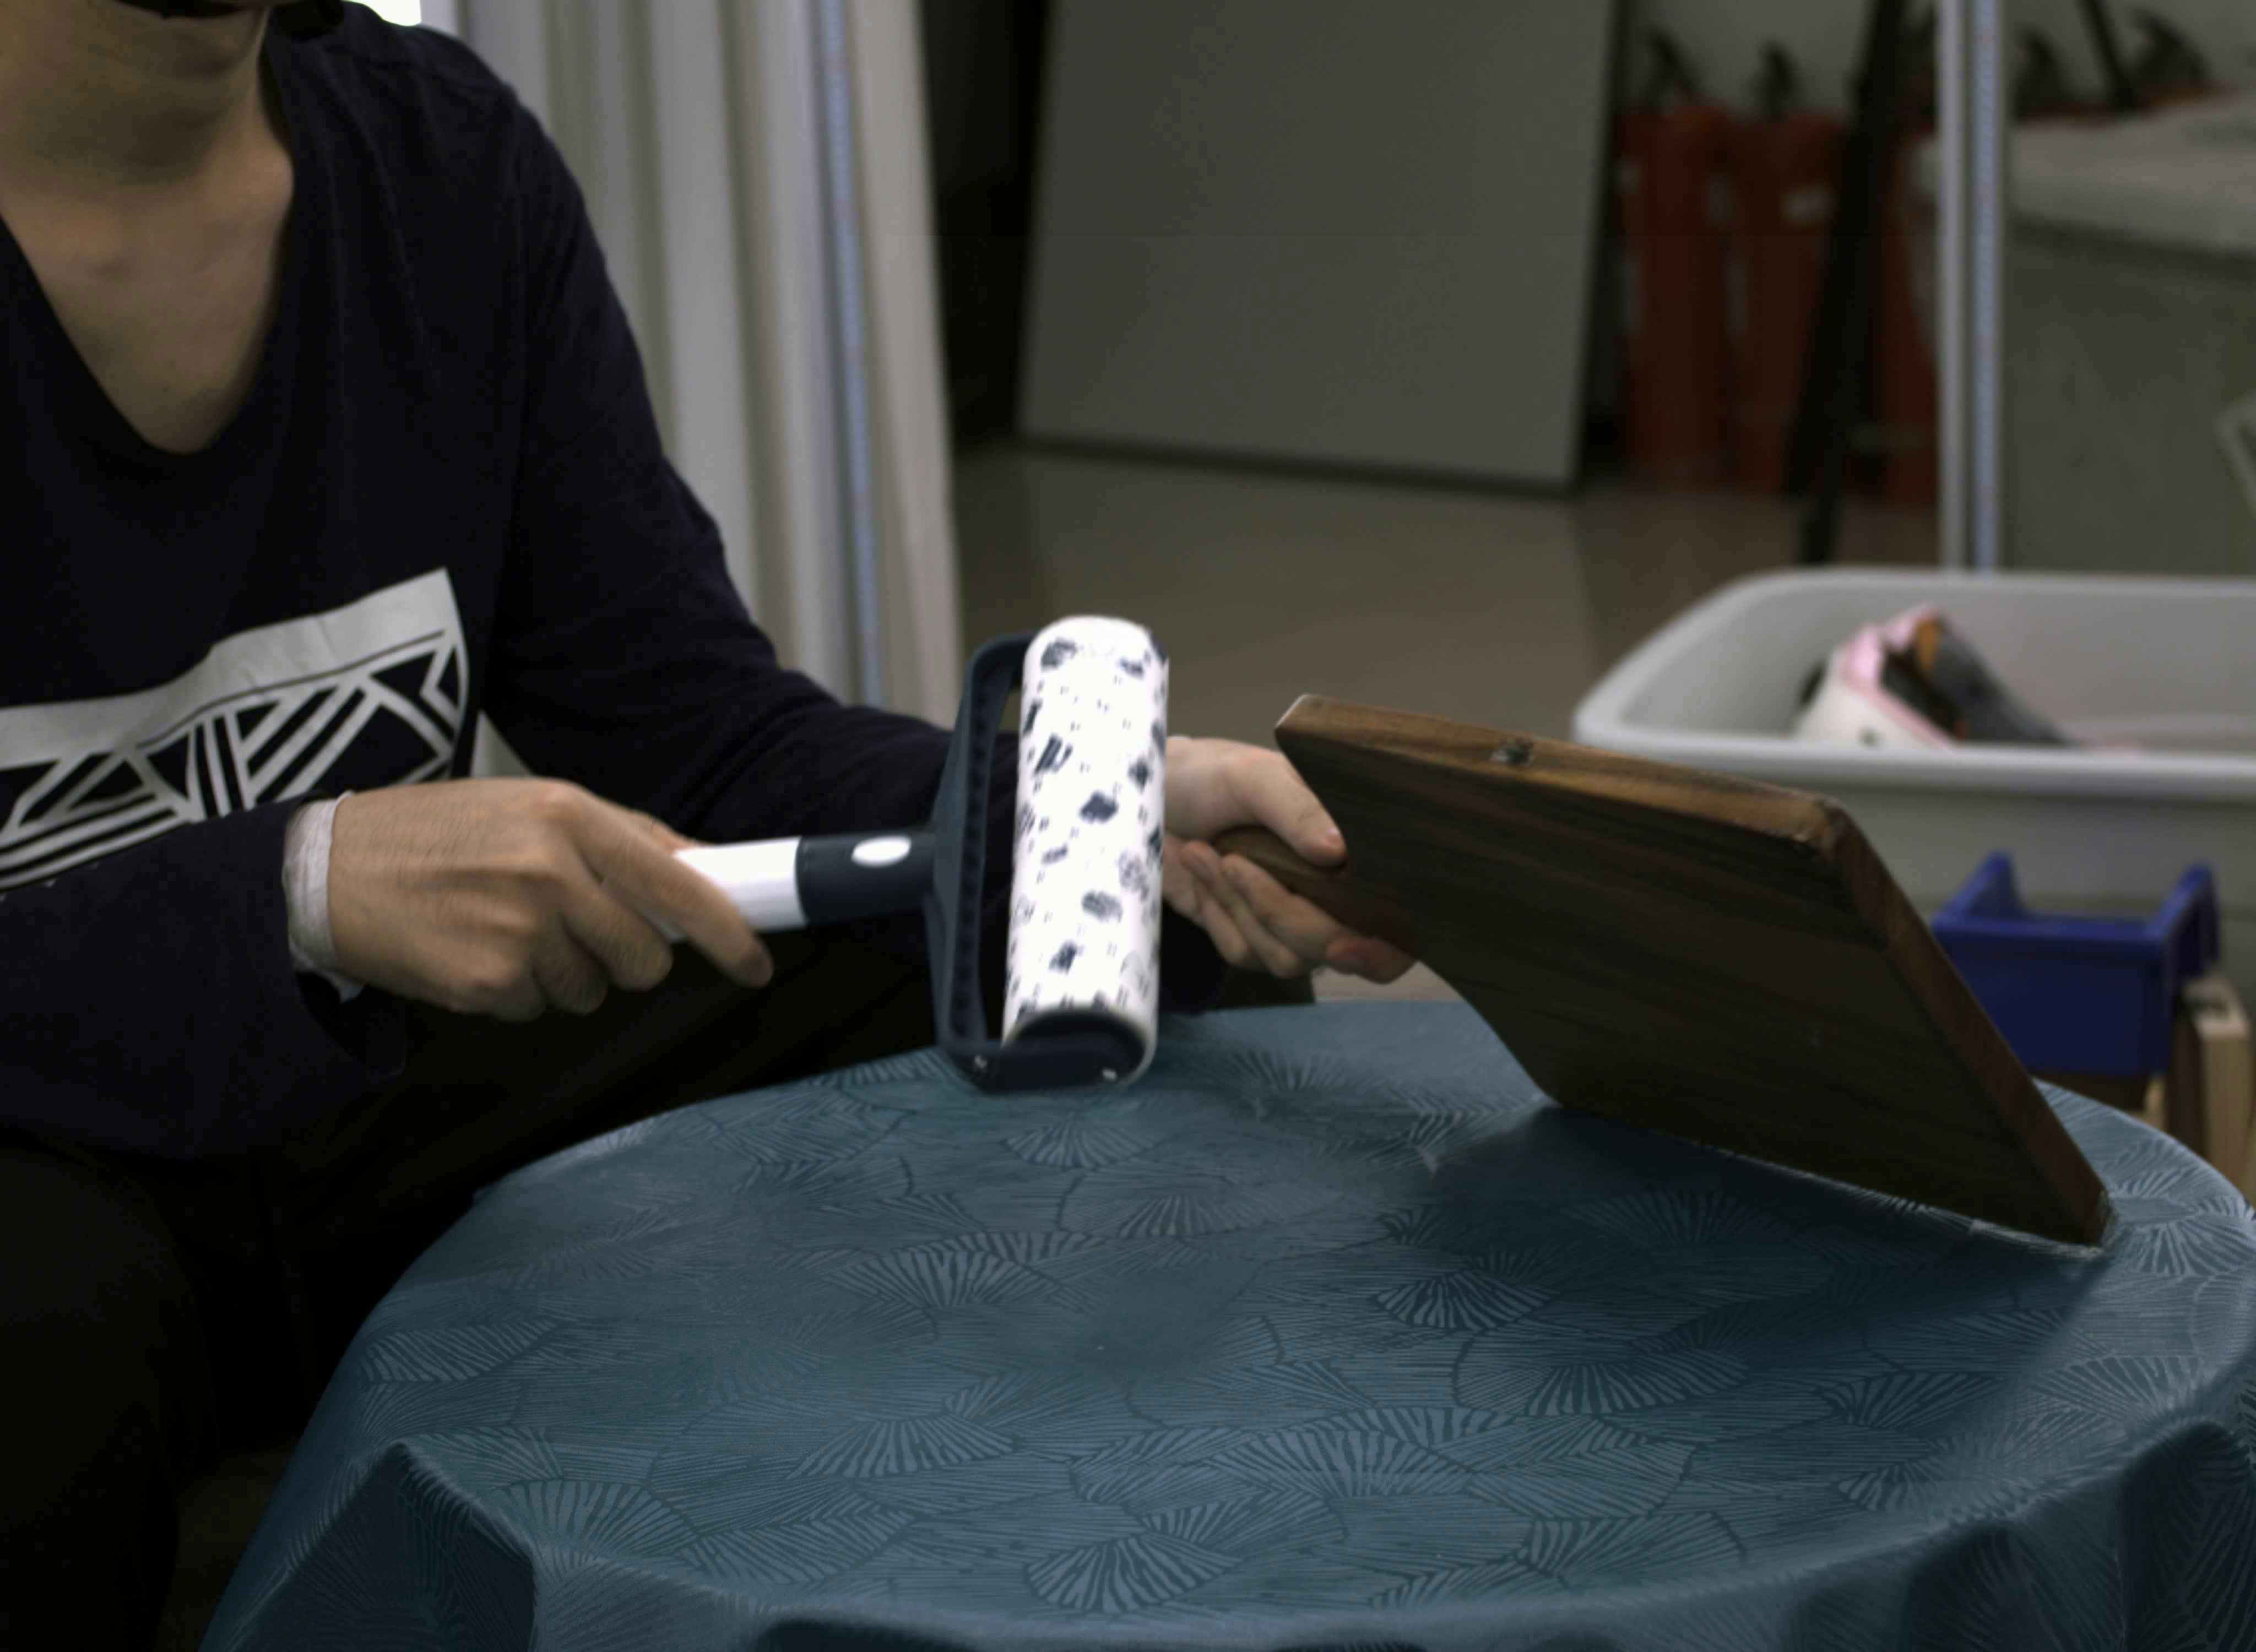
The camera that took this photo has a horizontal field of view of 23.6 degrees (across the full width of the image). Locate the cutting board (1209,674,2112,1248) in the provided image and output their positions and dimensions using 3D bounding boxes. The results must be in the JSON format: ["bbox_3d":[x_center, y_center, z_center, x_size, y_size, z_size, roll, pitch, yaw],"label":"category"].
[{"bbox_3d":[0.145,0.034,1.733,0.023,0.199,0.356,-50,33,-20],"label":"cutting board"}]

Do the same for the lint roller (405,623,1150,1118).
[{"bbox_3d":[-0.114,0.023,1.715,0.245,0.050,0.178,-7,50,11],"label":"lint roller"}]
